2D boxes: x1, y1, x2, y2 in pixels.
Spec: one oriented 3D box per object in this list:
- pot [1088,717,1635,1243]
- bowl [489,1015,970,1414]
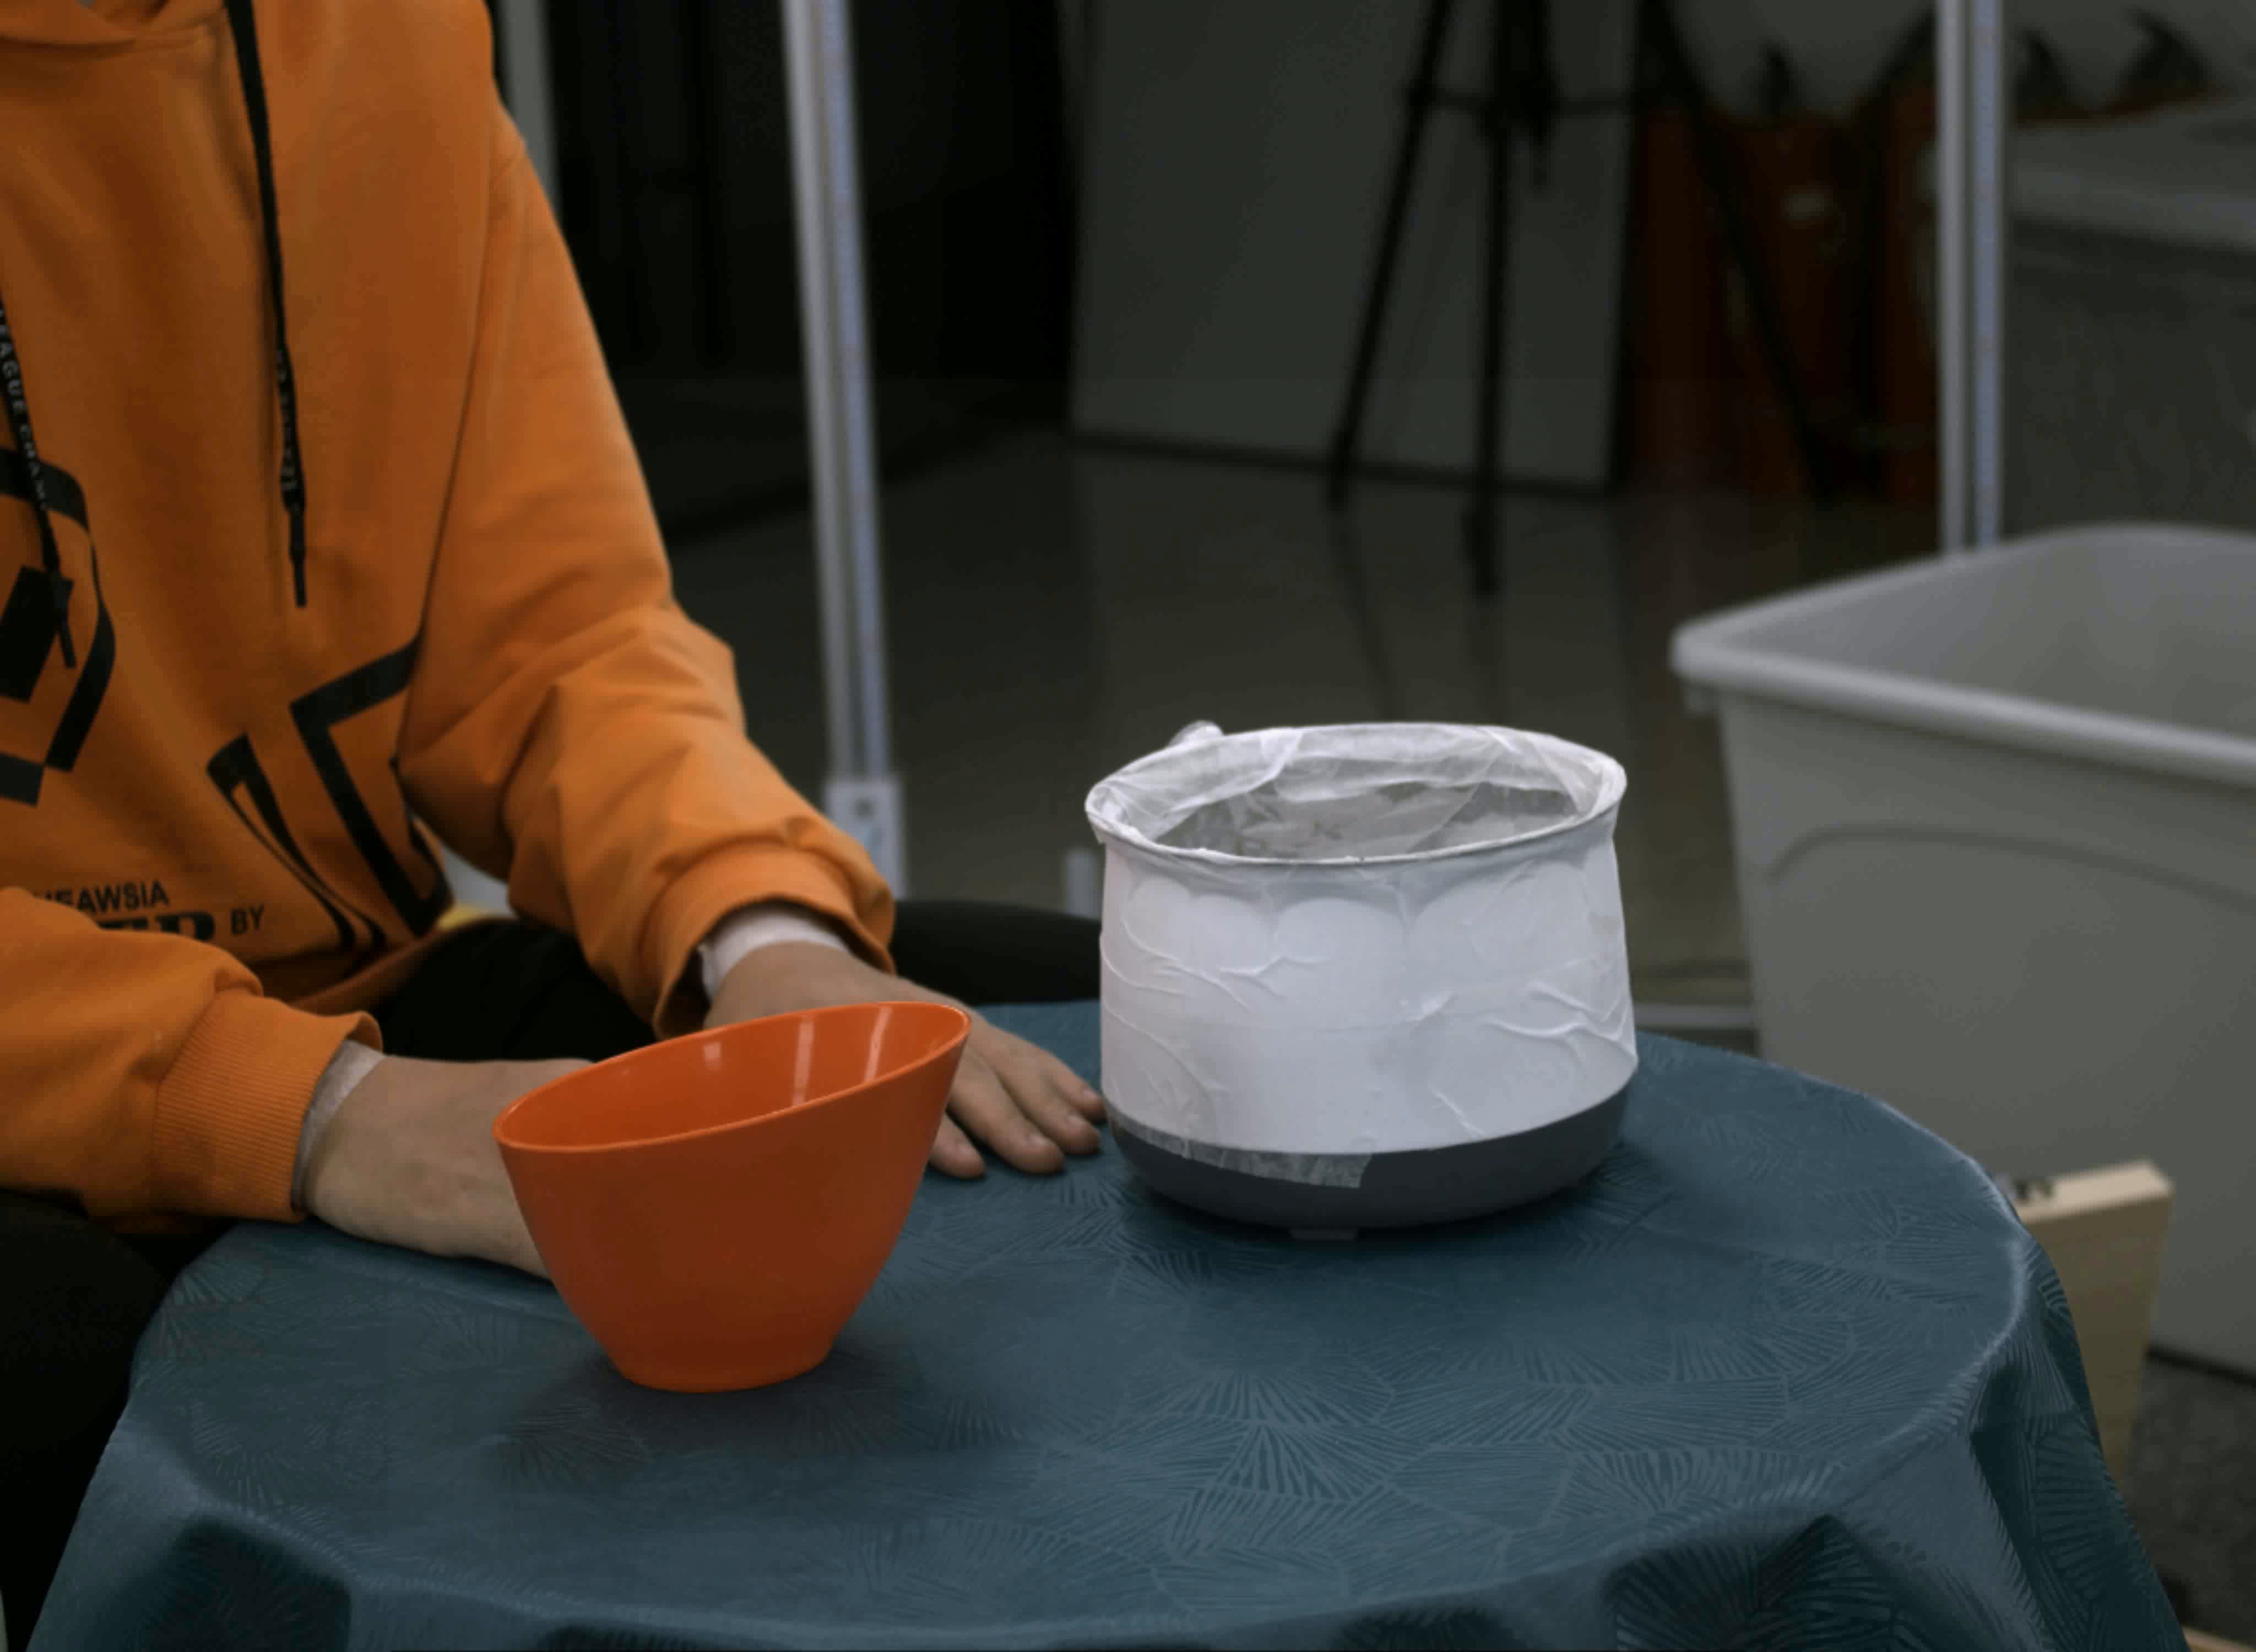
[{"bbox_3d":[0.063,0.044,1.779,0.175,0.138,0.236,-11,15,-29],"label":"pot"},{"bbox_3d":[-0.116,0.117,1.623,0.146,0.106,0.148,-5,12,0],"label":"bowl"}]
